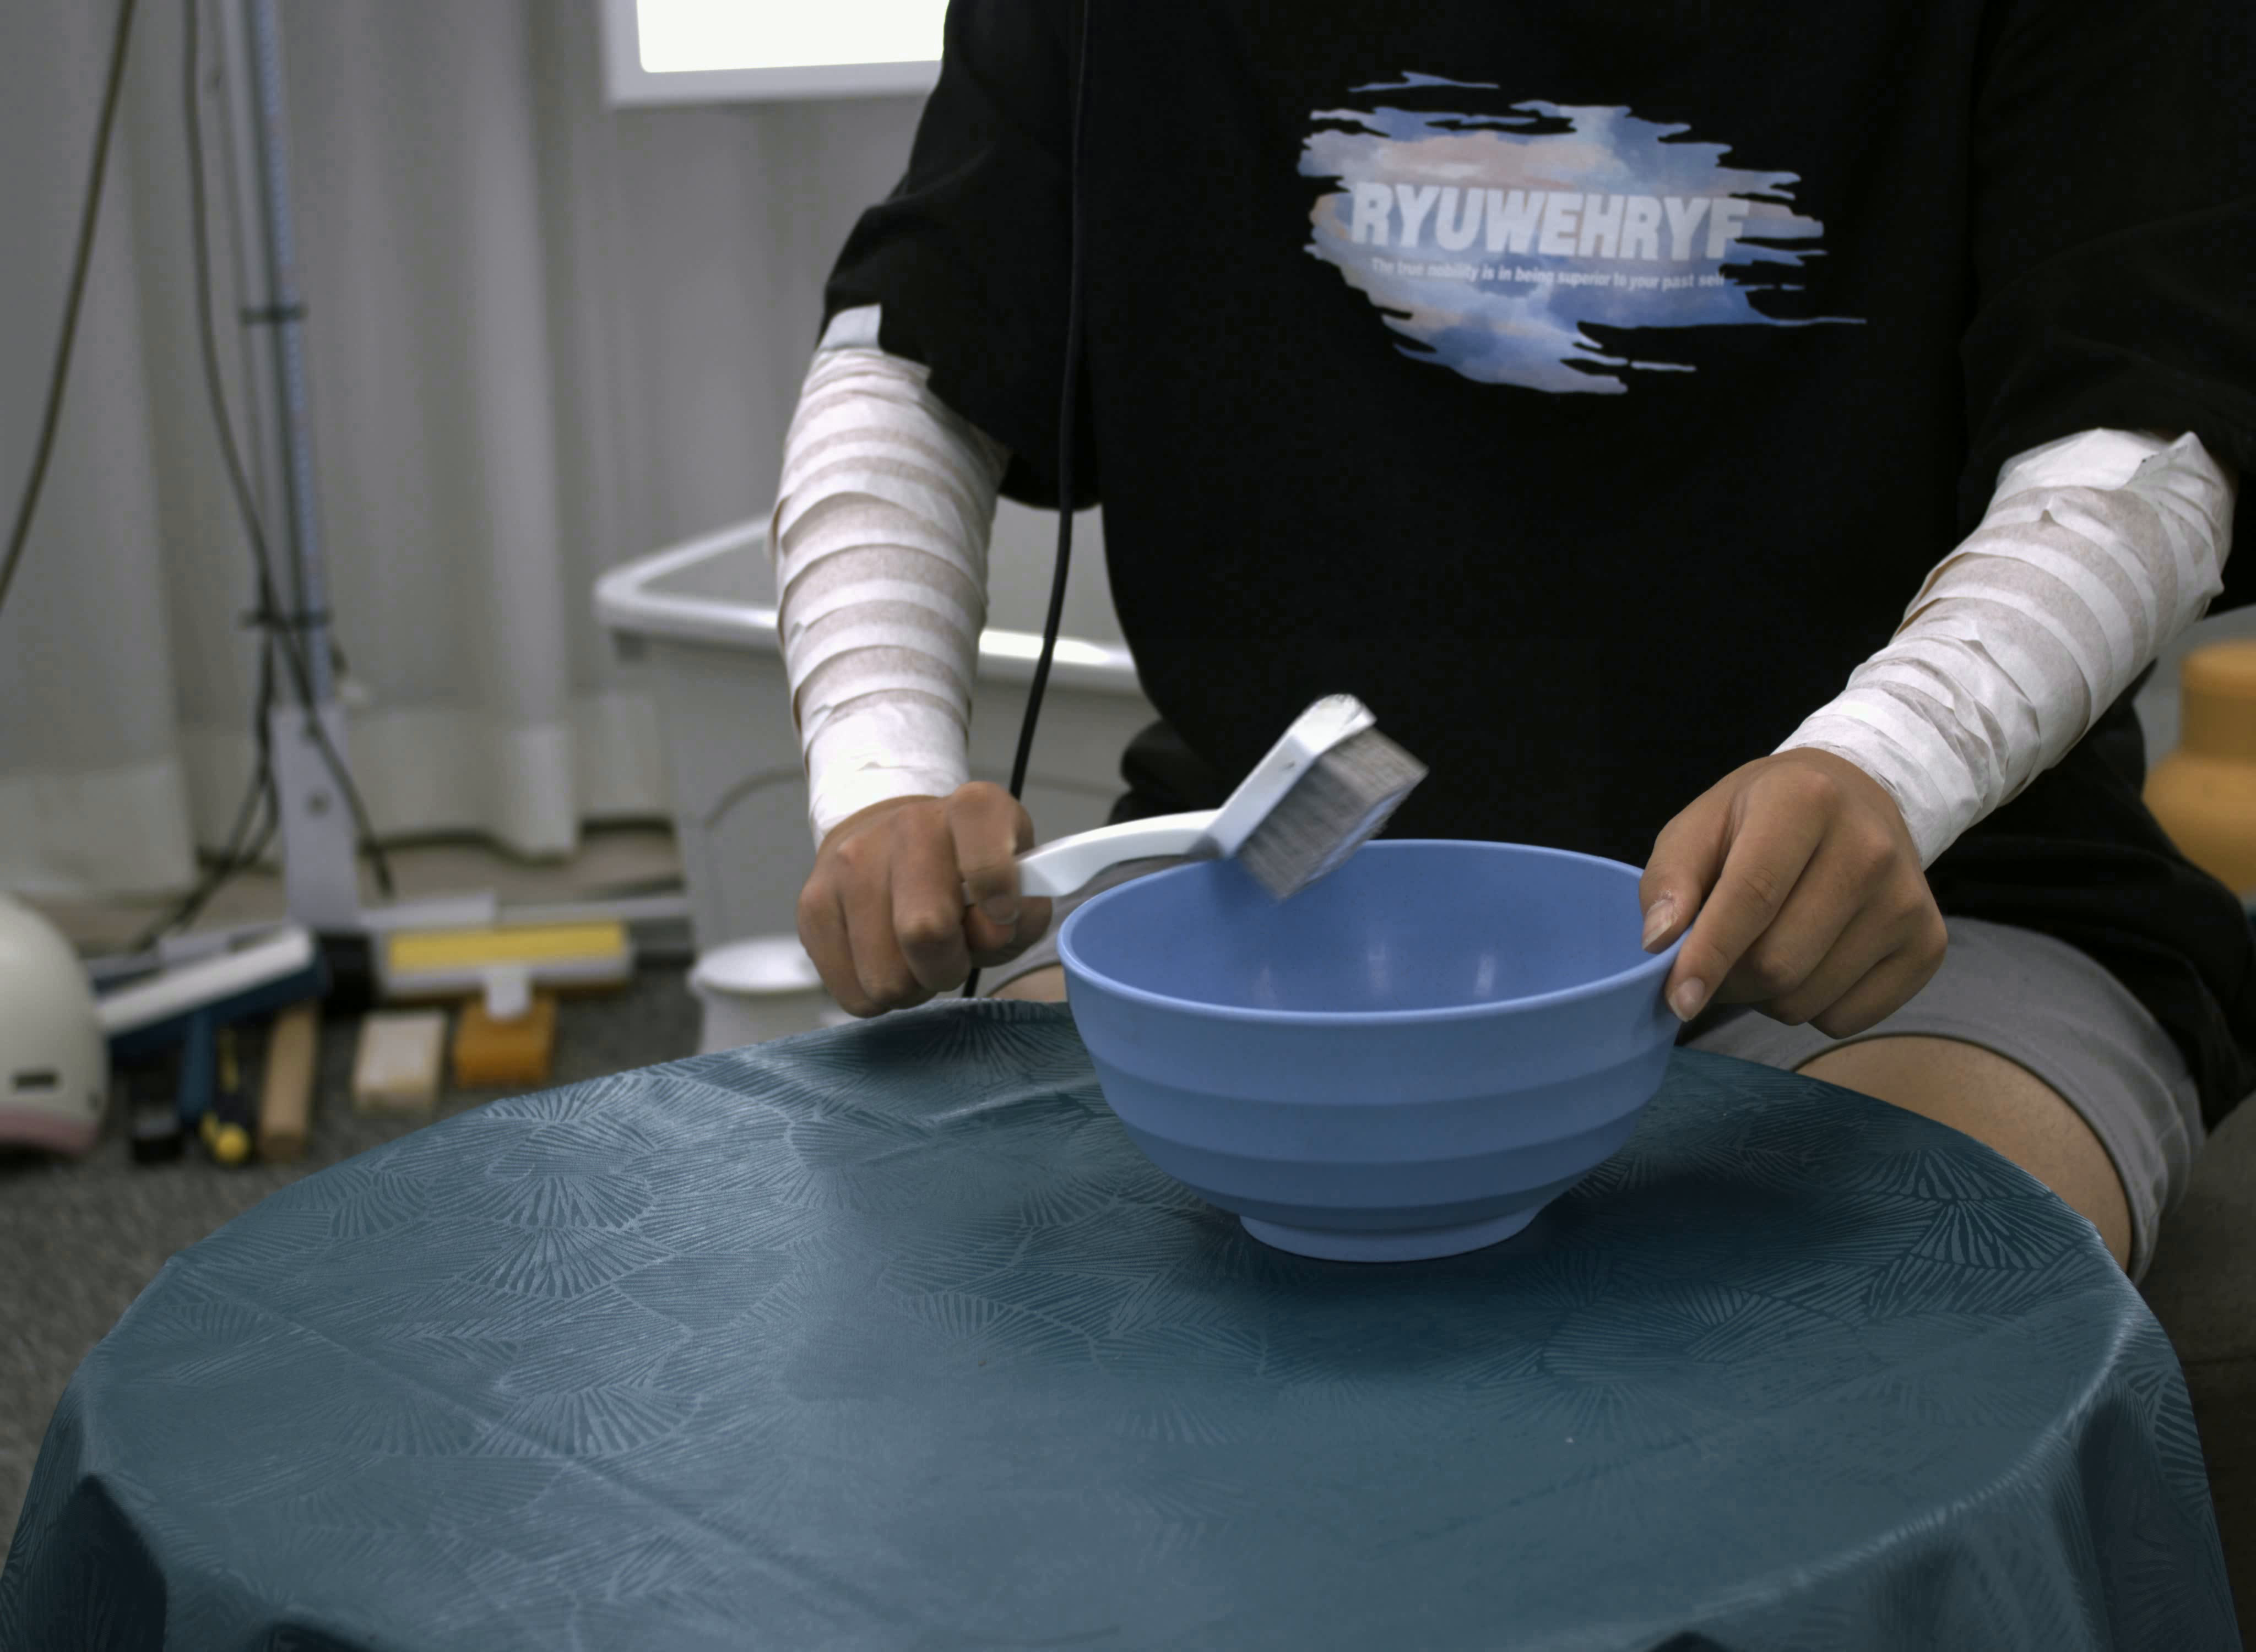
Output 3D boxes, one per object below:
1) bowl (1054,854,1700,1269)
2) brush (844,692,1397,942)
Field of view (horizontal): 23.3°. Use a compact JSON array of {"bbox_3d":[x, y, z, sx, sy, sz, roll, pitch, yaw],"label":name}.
[{"bbox_3d":[0.078,0.076,1.668,0.196,0.095,0.197,-4,13,1],"label":"bowl"},{"bbox_3d":[-0.005,0.016,1.774,0.243,0.050,0.034,-25,3,44],"label":"brush"}]
